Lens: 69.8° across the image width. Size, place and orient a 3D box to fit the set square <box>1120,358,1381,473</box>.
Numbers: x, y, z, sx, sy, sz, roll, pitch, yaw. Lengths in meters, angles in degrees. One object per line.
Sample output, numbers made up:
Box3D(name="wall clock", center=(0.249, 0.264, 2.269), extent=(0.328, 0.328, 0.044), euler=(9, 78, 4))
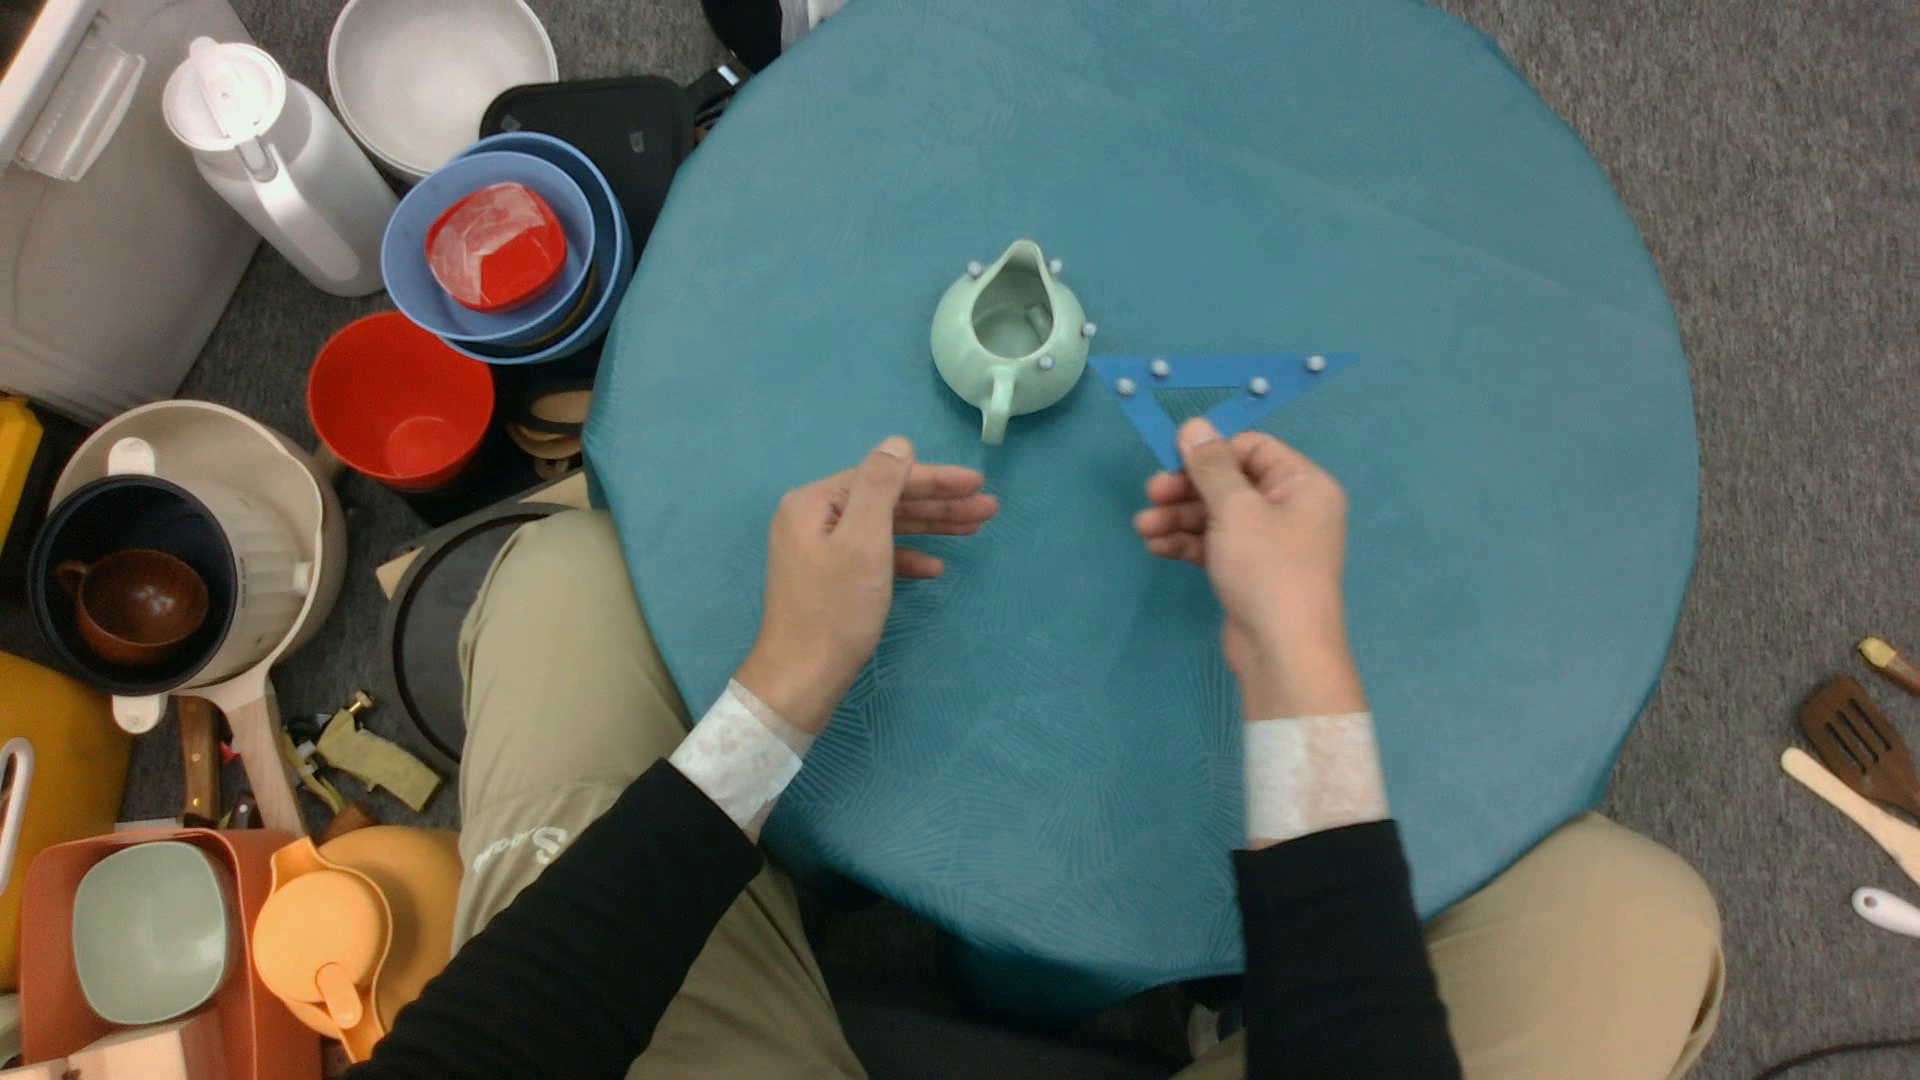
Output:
Box3D(name="set square", center=(0.146, -0.062, 0.680), extent=(0.132, 0.006, 0.061), euler=(0, 74, -4))

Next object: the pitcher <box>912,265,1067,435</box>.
Box3D(name="pitcher", center=(0.014, -0.094, 0.727), extent=(0.086, 0.060, 0.108), euler=(28, 58, -5))
